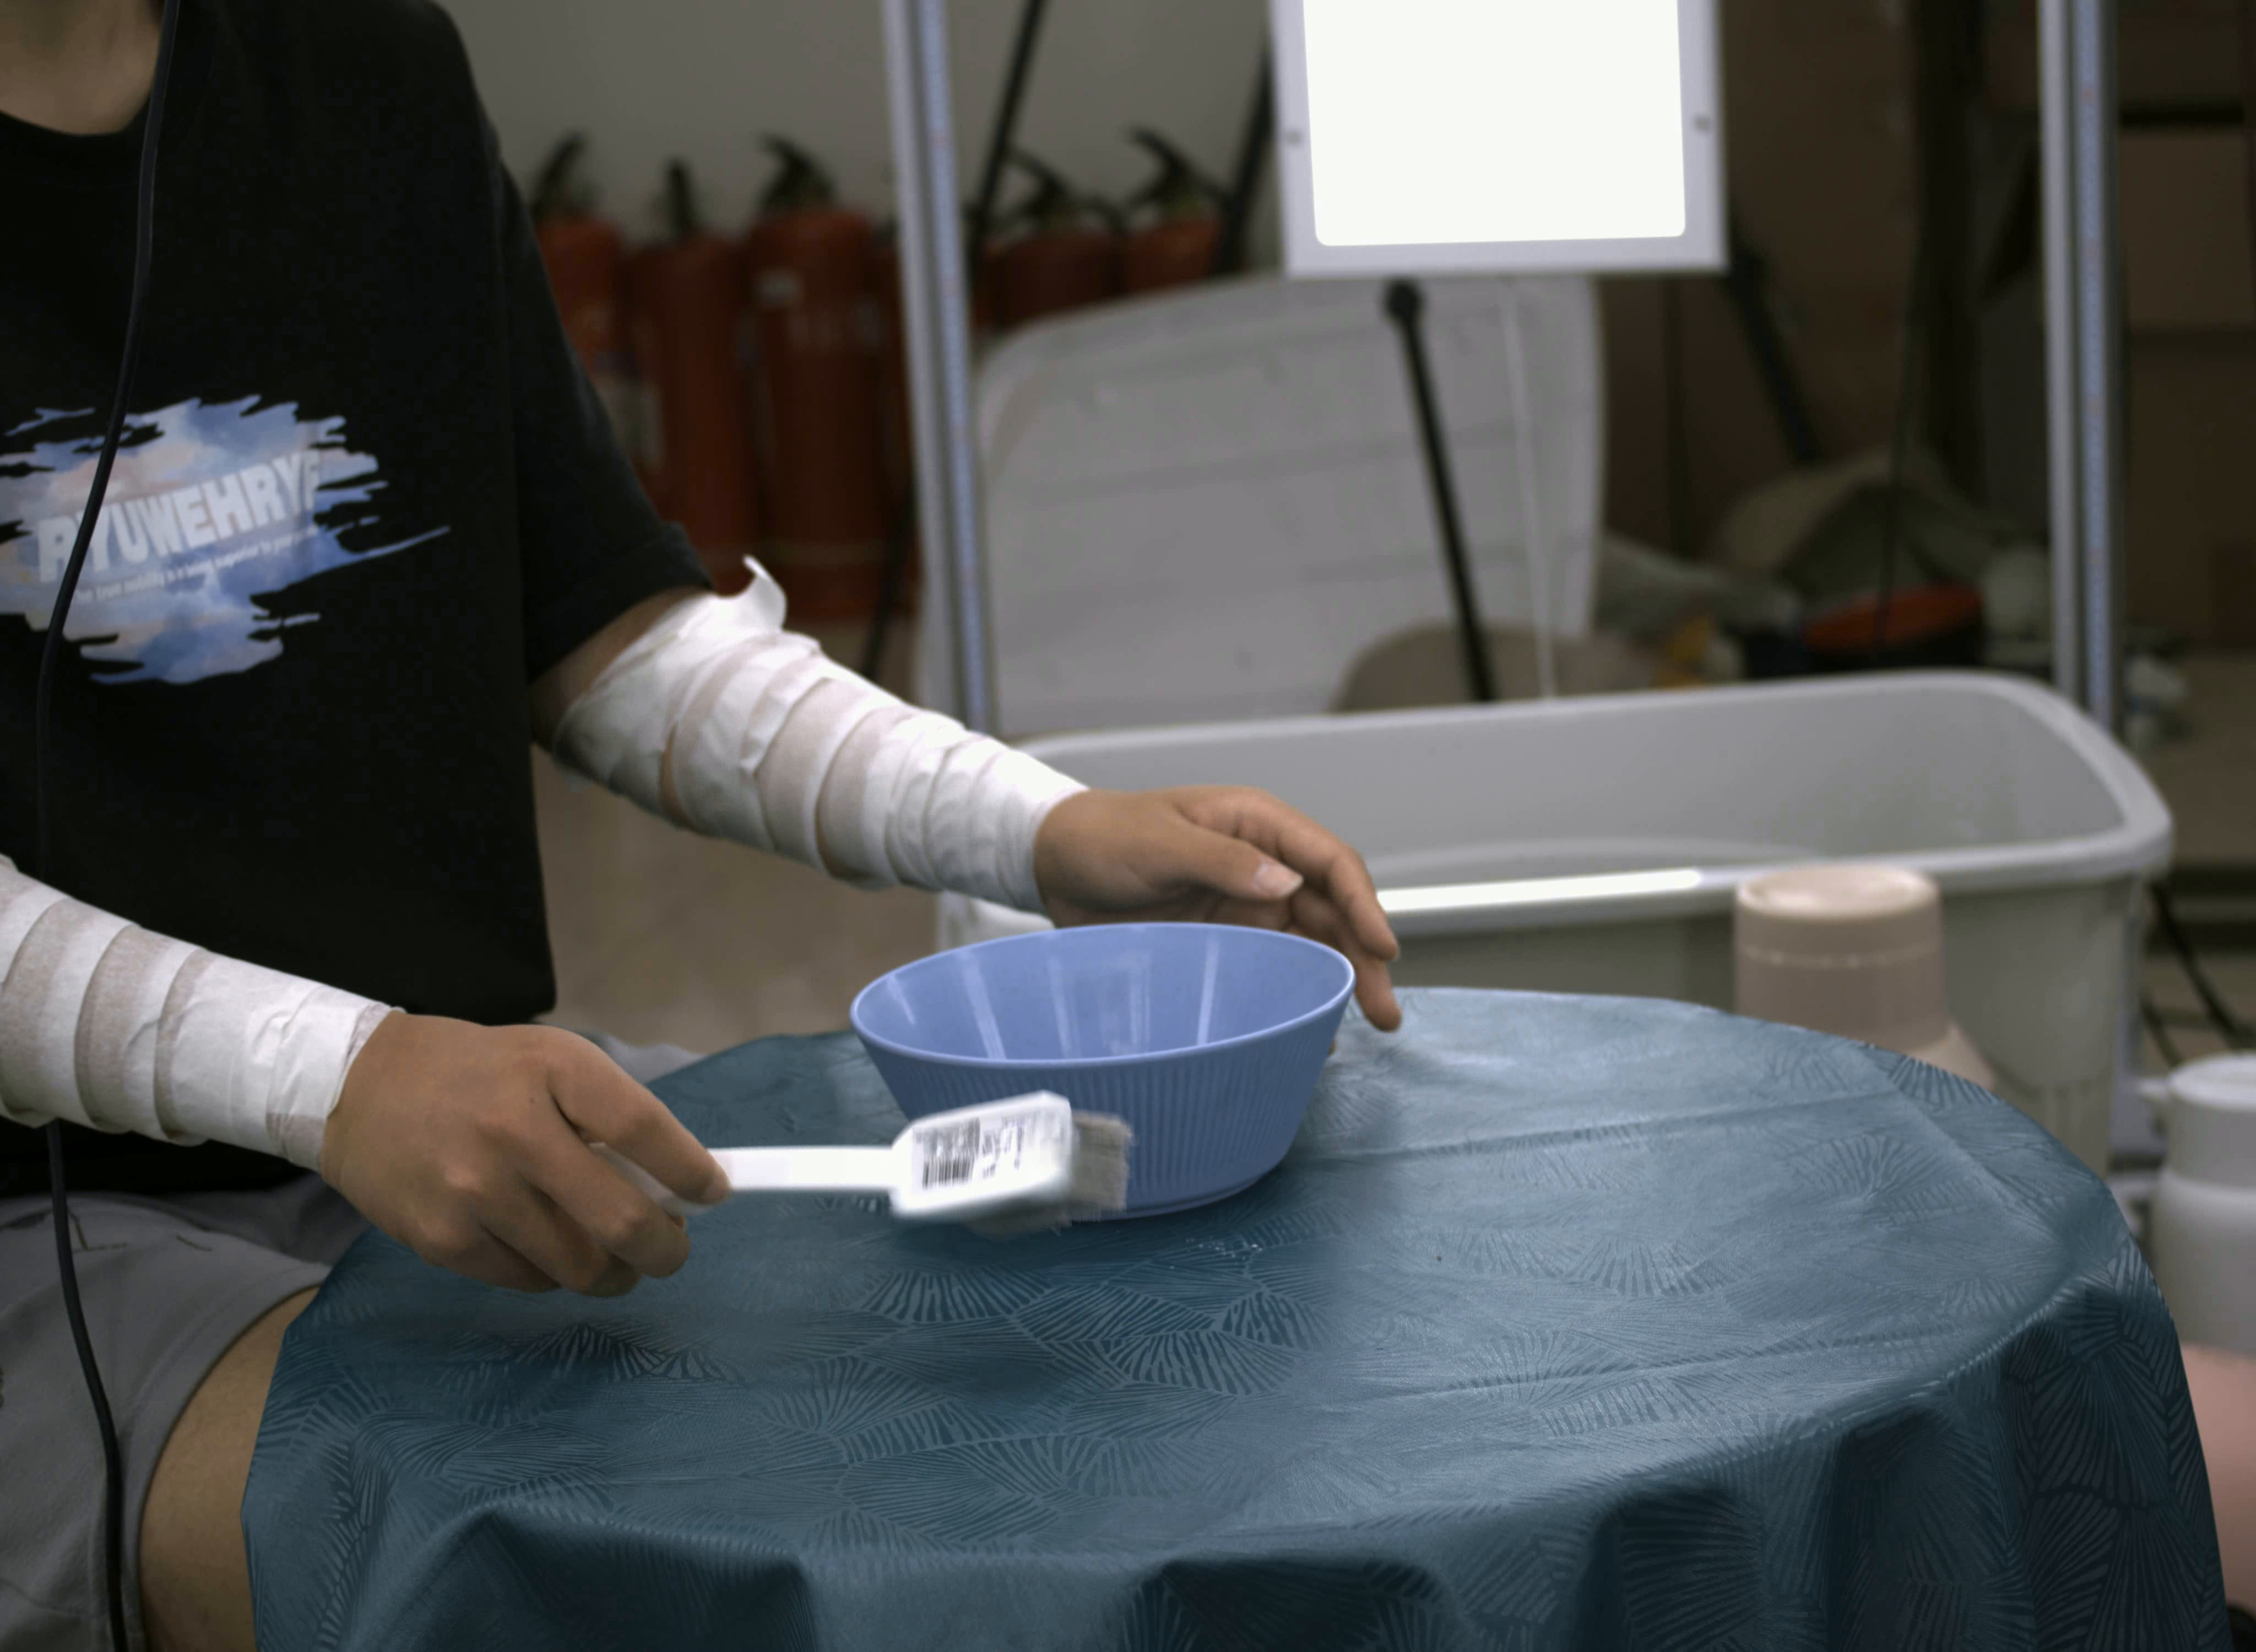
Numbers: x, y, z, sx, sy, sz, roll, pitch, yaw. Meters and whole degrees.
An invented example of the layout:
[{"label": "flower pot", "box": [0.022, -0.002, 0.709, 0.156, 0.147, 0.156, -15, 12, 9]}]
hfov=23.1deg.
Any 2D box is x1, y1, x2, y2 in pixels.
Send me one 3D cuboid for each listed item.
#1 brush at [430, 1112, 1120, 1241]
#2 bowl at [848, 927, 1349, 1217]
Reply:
[{"label": "brush", "box": [-0.113, 0.117, 1.769, 0.248, 0.034, 0.049, -6, -12, 30]}, {"label": "bowl", "box": [-0.008, 0.087, 1.911, 0.175, 0.070, 0.176, -5, 13, 0]}]
